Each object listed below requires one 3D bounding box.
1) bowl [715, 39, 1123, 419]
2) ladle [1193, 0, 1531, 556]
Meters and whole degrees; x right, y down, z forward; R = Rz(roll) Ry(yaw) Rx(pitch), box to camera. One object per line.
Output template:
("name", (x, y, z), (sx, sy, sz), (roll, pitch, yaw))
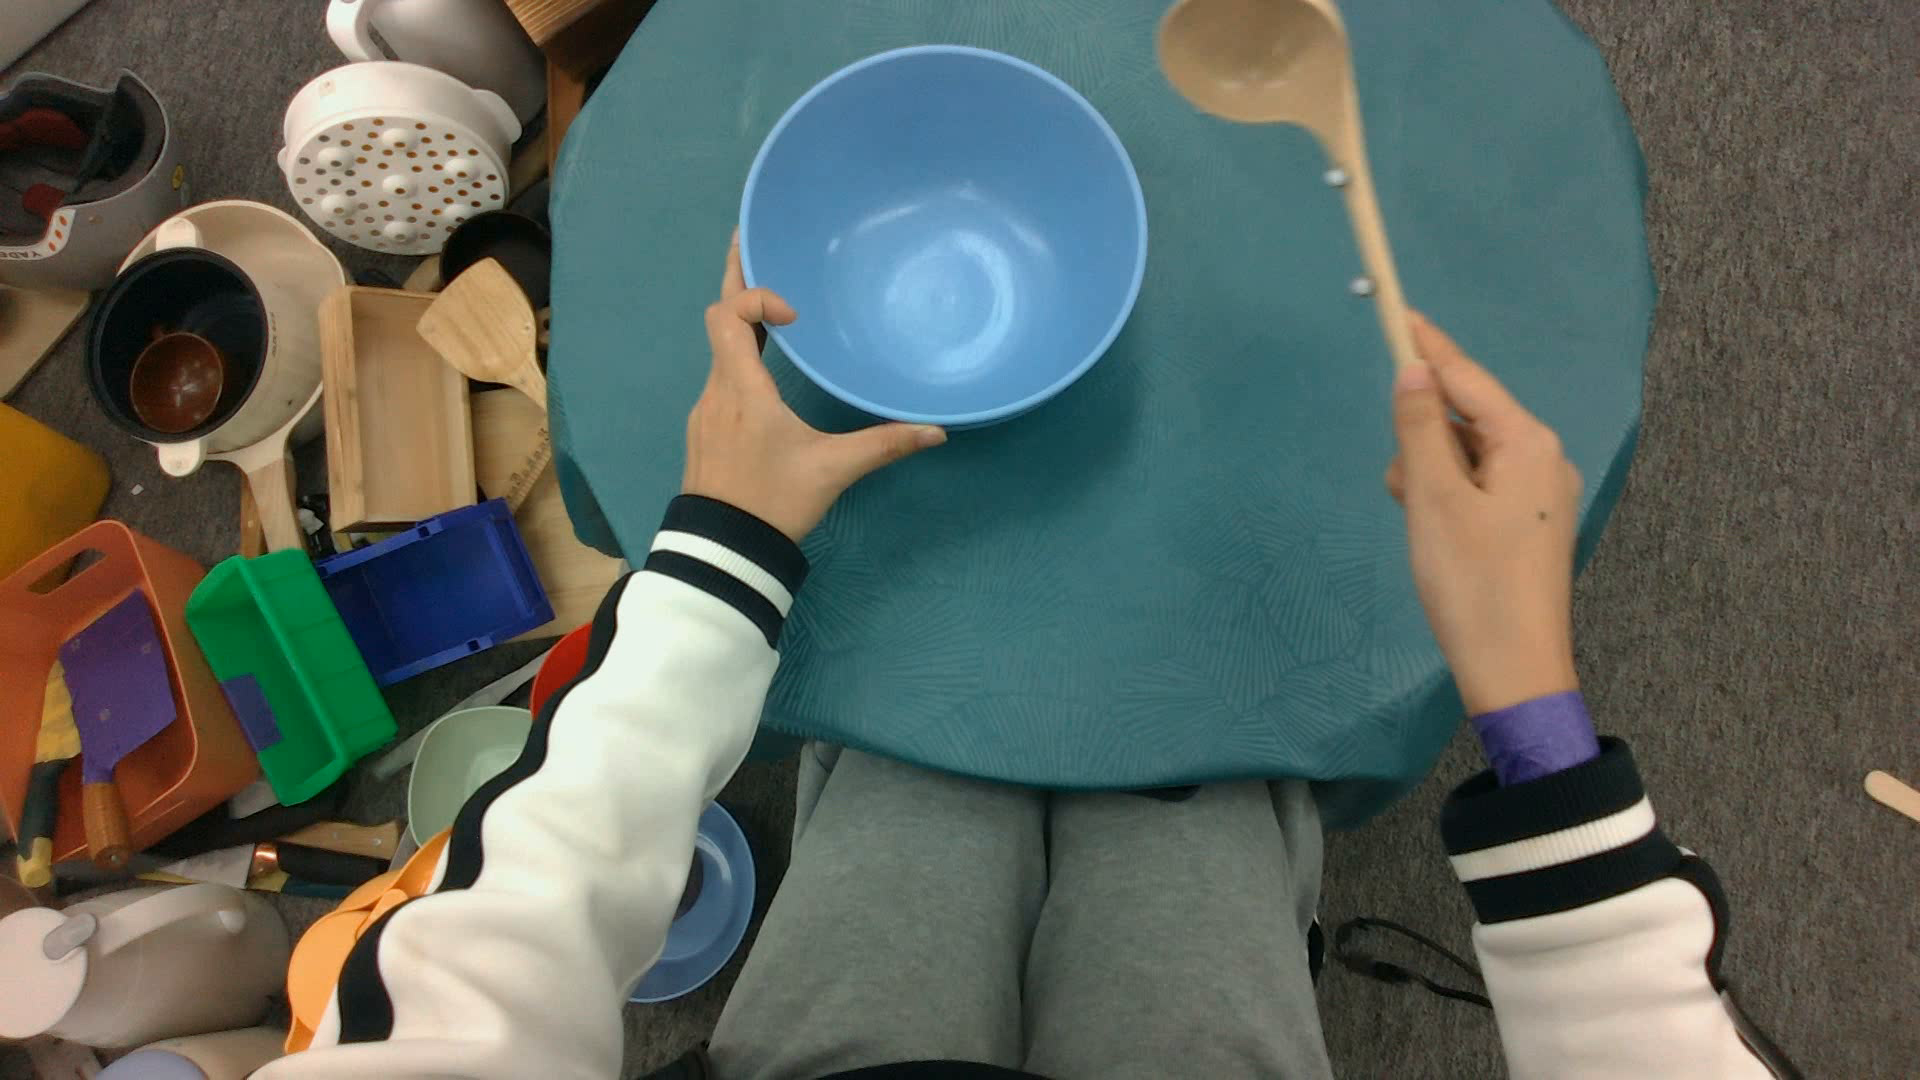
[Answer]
("bowl", (-0.021, -0.144, 0.705), (0.196, 0.095, 0.197), (1, 75, -3))
("ladle", (0.153, -0.110, 0.541), (0.073, 0.072, 0.255), (-5, 72, -17))
